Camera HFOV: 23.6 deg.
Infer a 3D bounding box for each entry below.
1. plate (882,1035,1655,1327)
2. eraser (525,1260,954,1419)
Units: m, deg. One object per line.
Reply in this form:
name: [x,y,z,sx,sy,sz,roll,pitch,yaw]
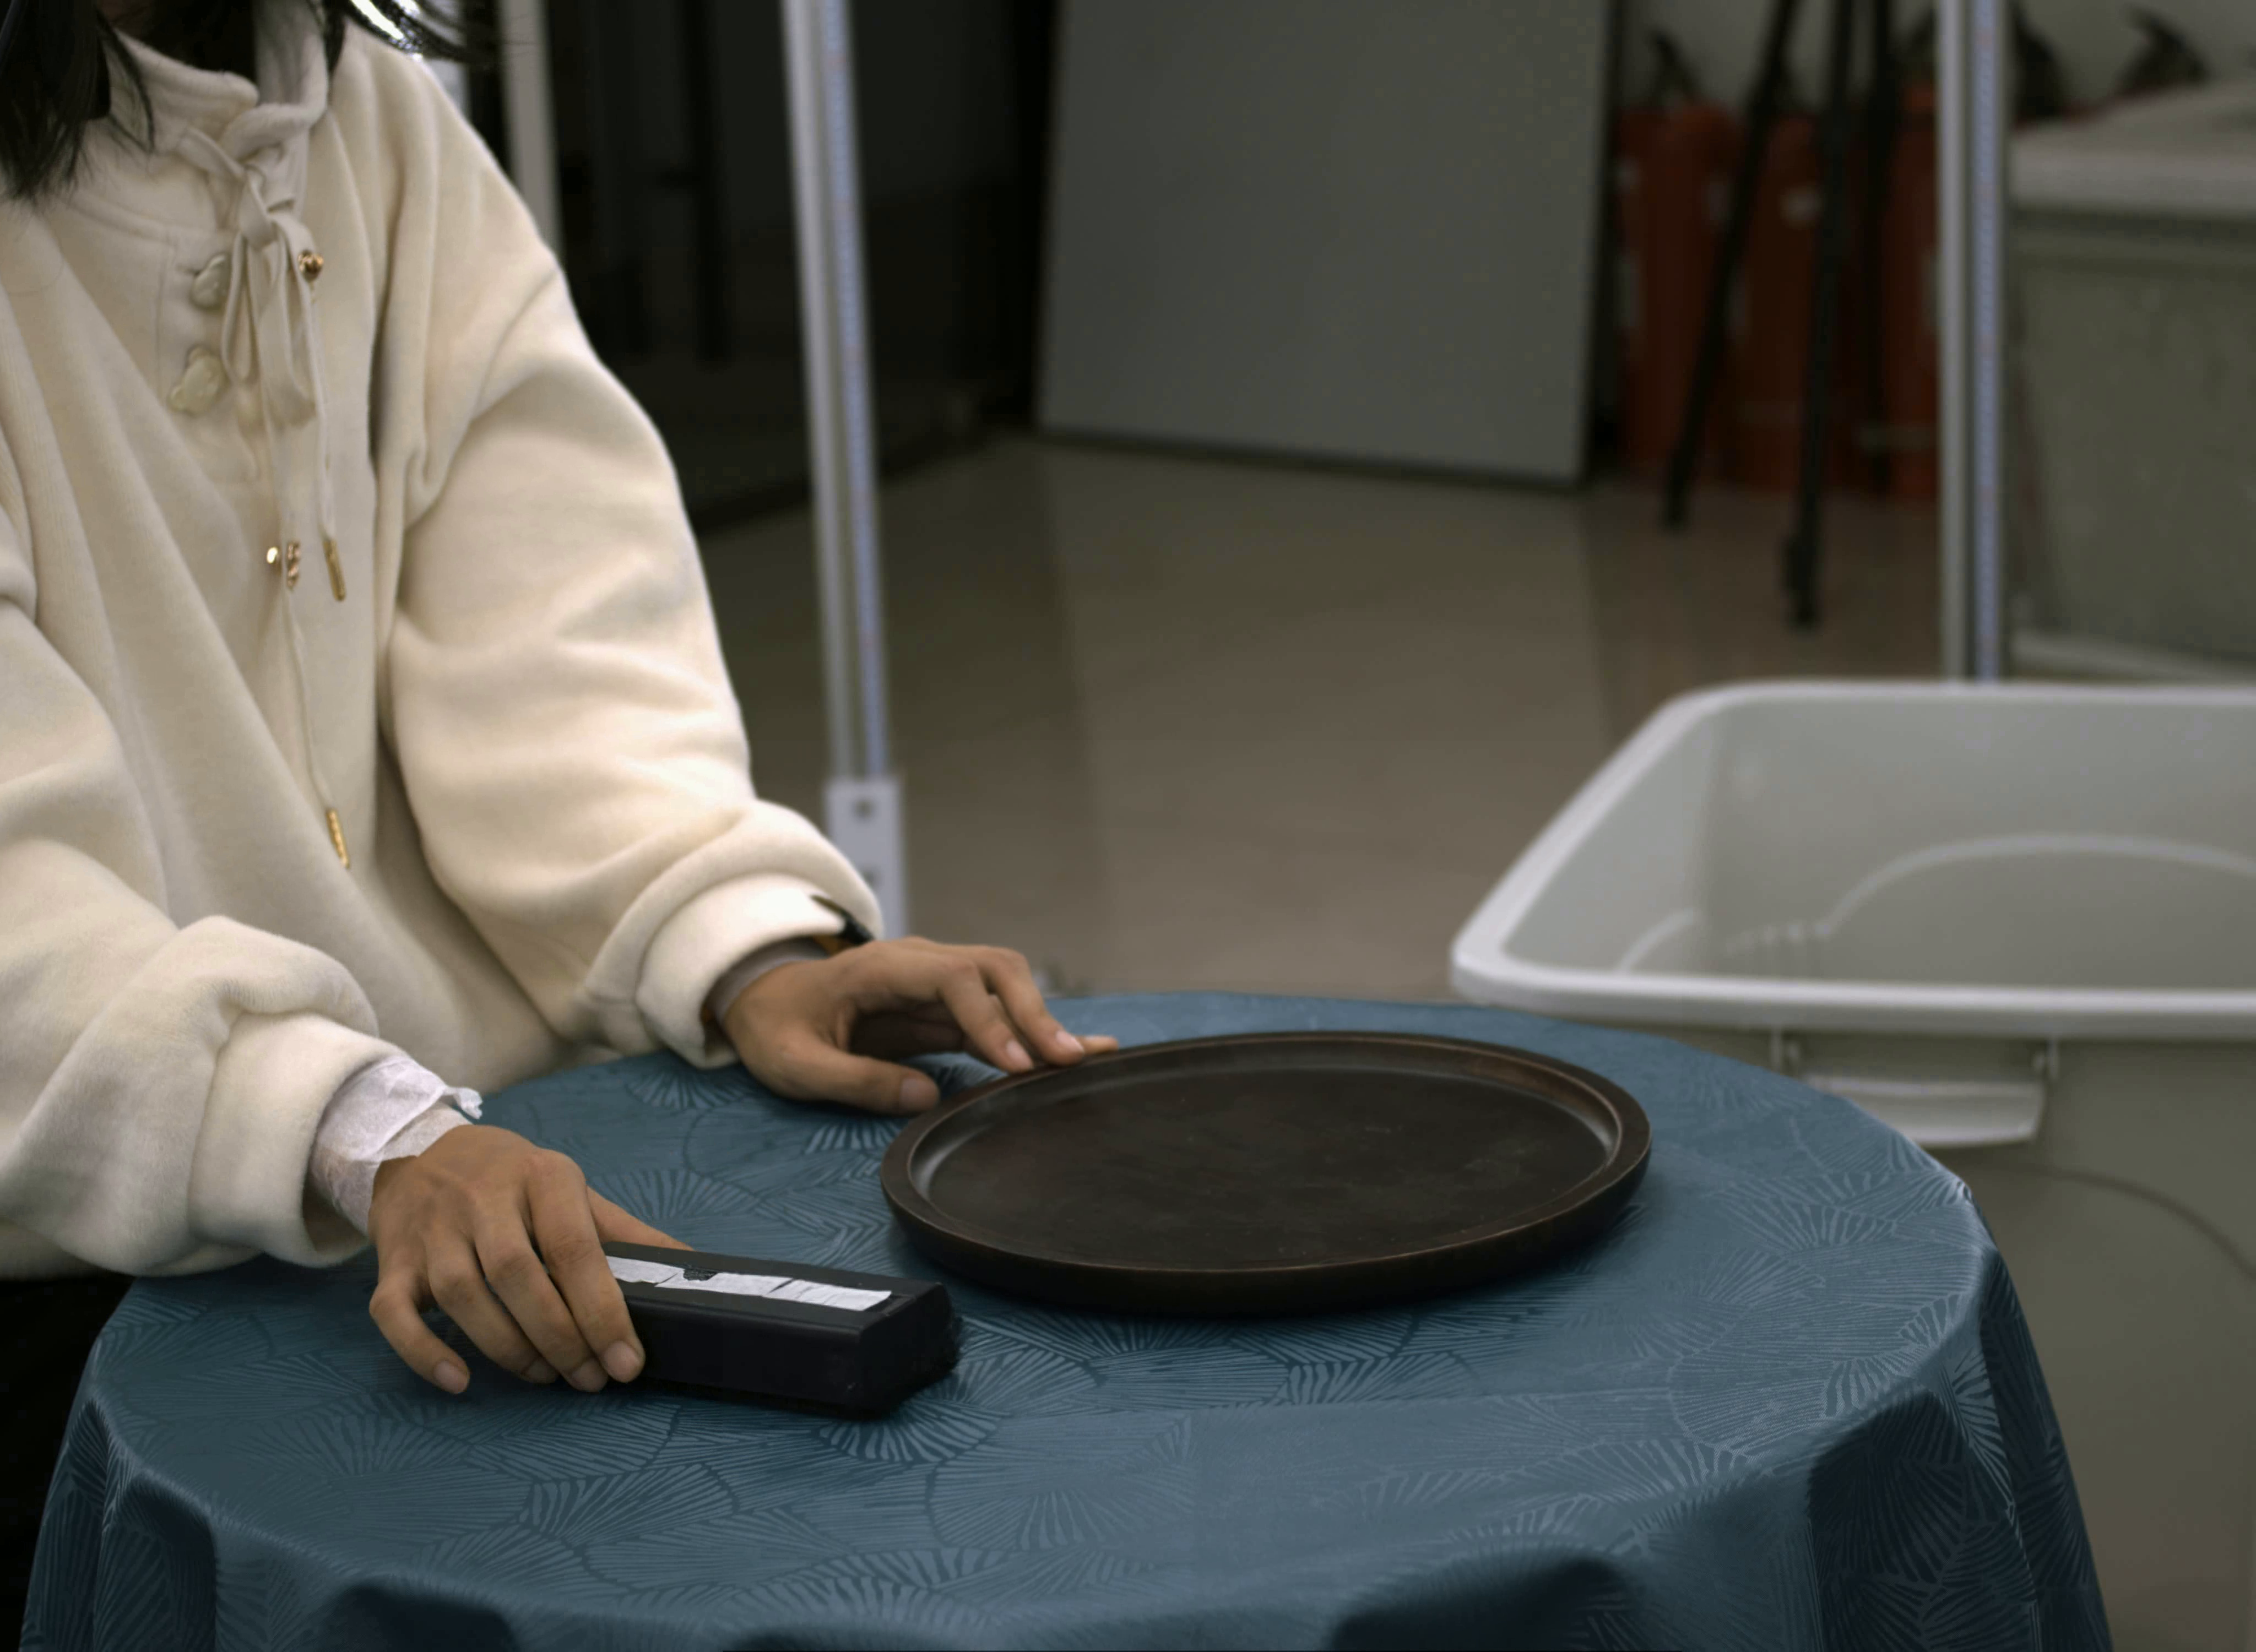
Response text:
plate: [0.045,0.112,1.743,0.251,0.029,0.255,-3,15,0]
eraser: [-0.115,0.153,1.620,0.126,0.031,0.052,2,12,31]
